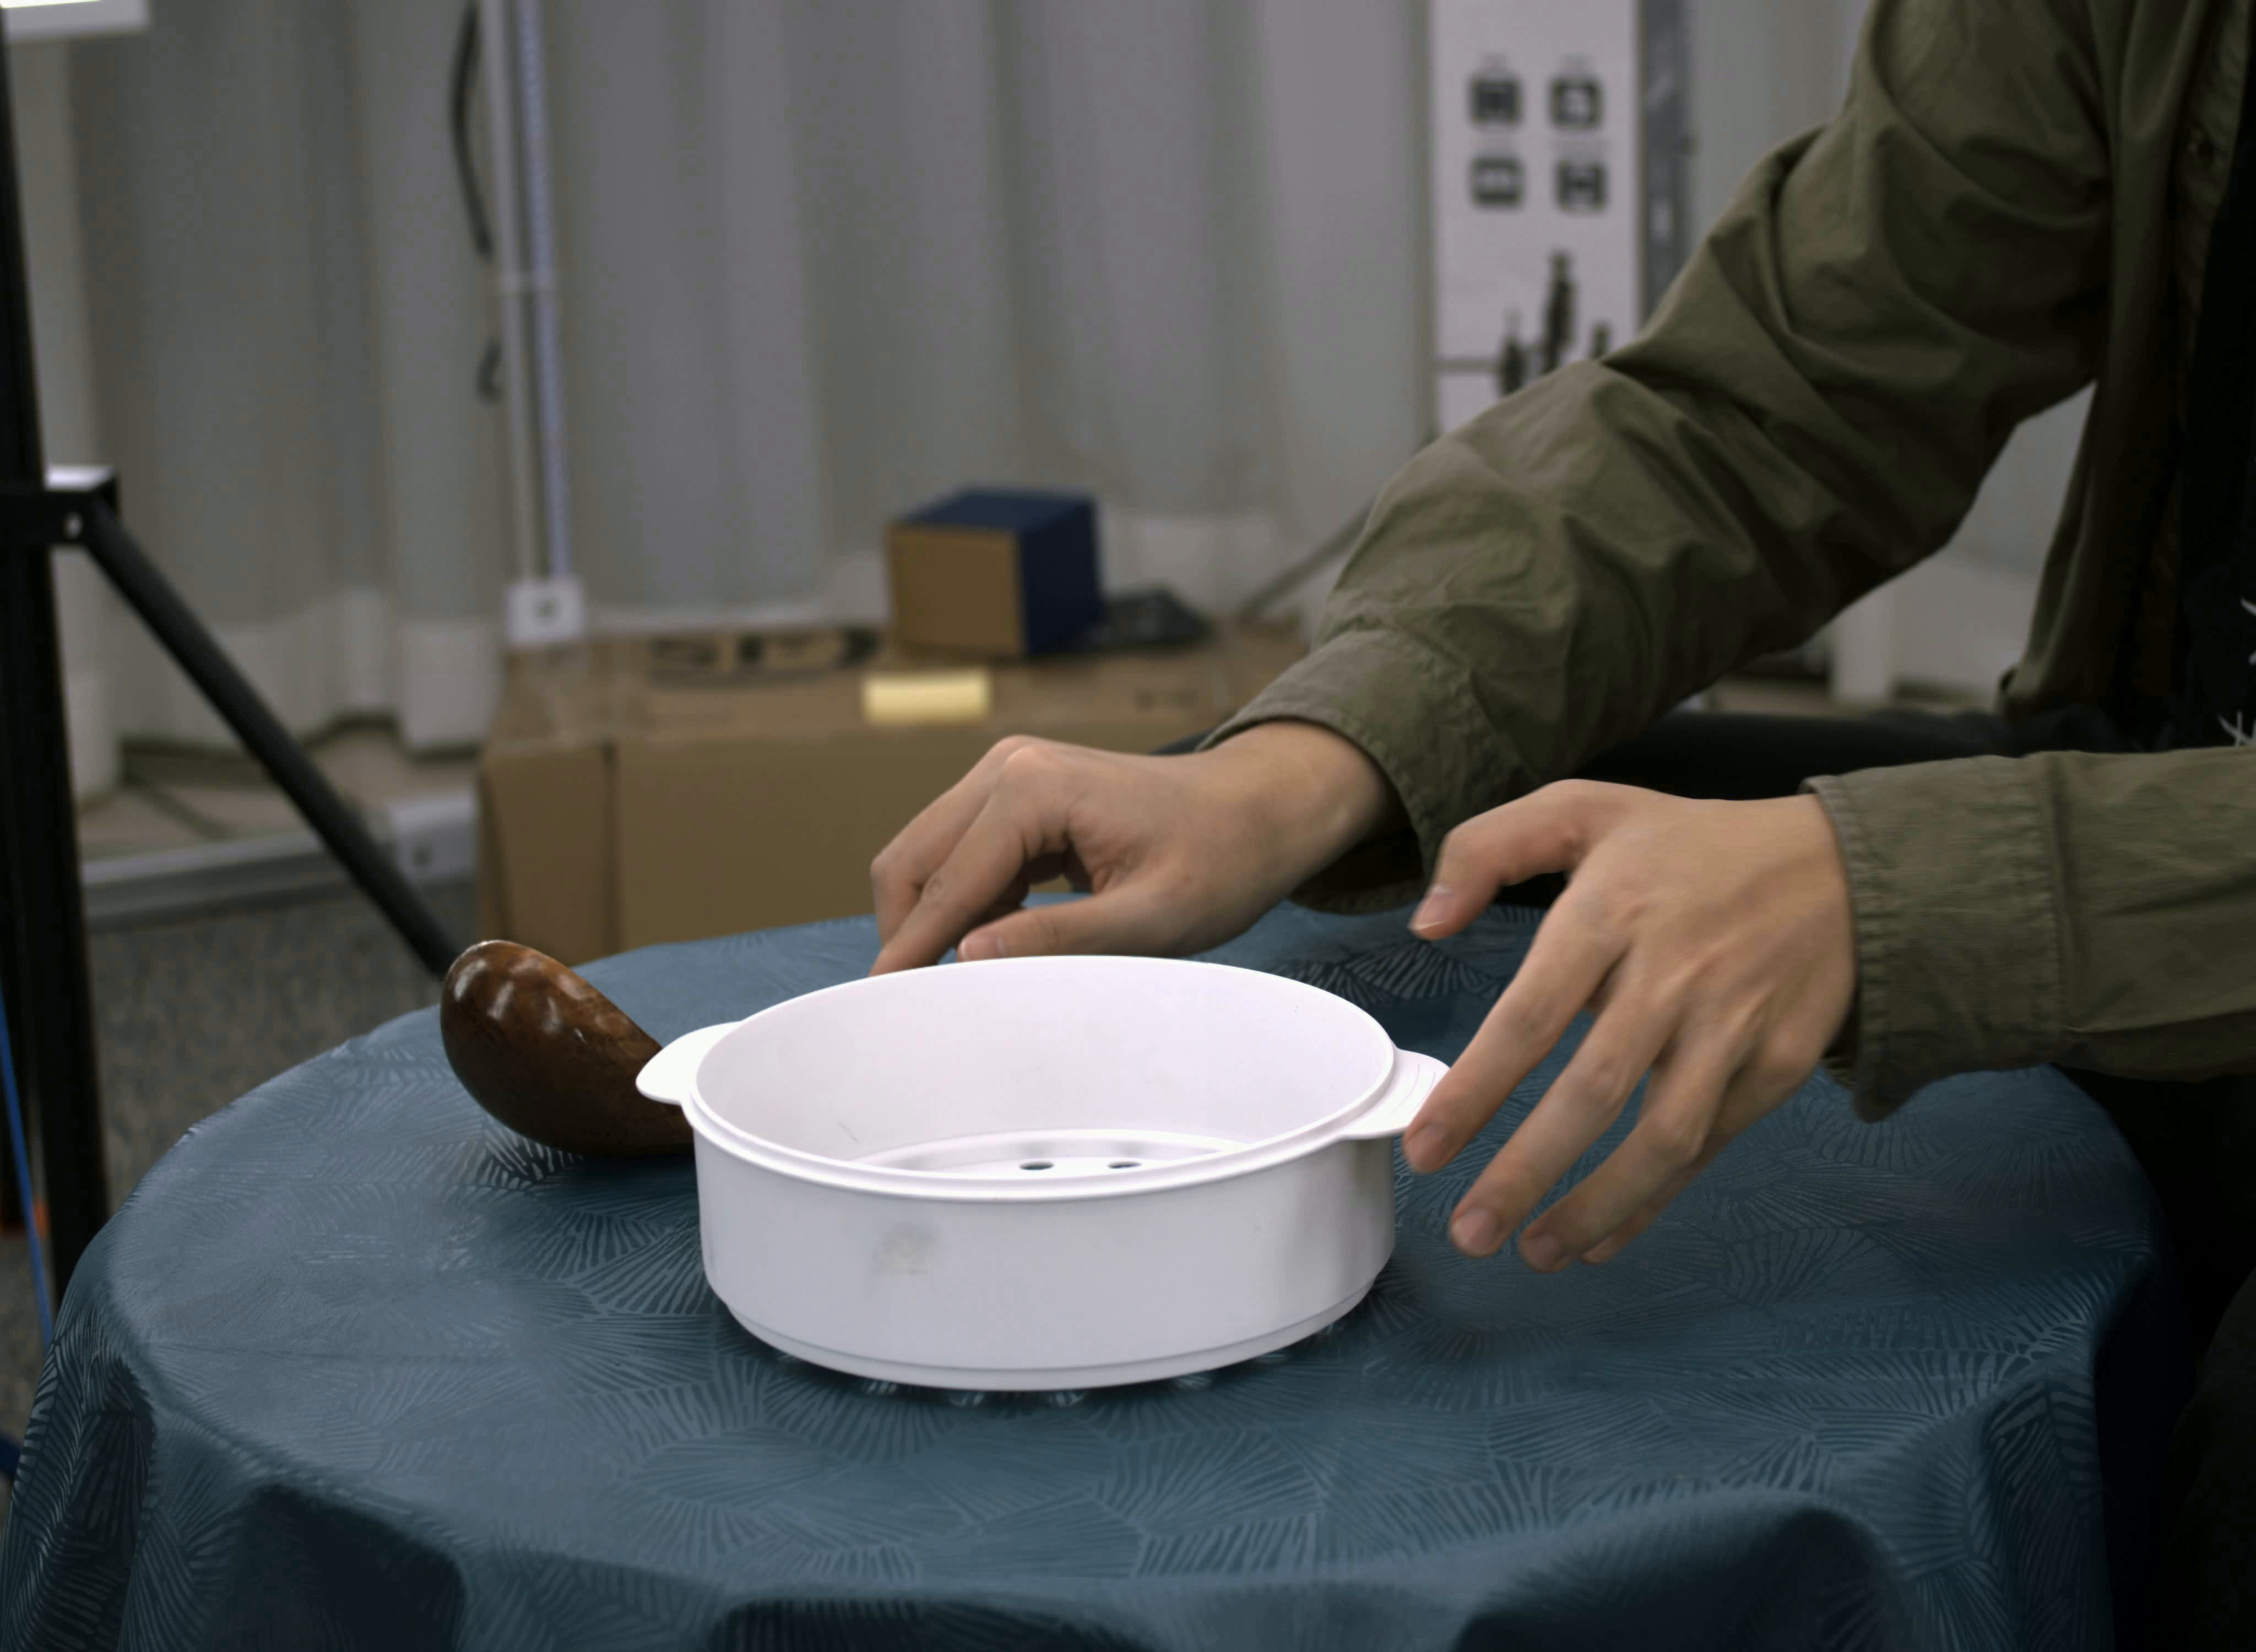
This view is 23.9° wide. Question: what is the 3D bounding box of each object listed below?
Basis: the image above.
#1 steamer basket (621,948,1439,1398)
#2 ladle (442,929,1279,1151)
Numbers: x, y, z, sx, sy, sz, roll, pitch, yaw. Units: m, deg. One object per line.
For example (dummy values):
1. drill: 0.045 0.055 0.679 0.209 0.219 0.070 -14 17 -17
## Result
1. steamer basket: -0.027 0.097 1.485 0.232 0.069 0.200 3 17 16
2. ladle: -0.080 0.049 1.651 0.268 0.077 0.083 -10 -8 -26
